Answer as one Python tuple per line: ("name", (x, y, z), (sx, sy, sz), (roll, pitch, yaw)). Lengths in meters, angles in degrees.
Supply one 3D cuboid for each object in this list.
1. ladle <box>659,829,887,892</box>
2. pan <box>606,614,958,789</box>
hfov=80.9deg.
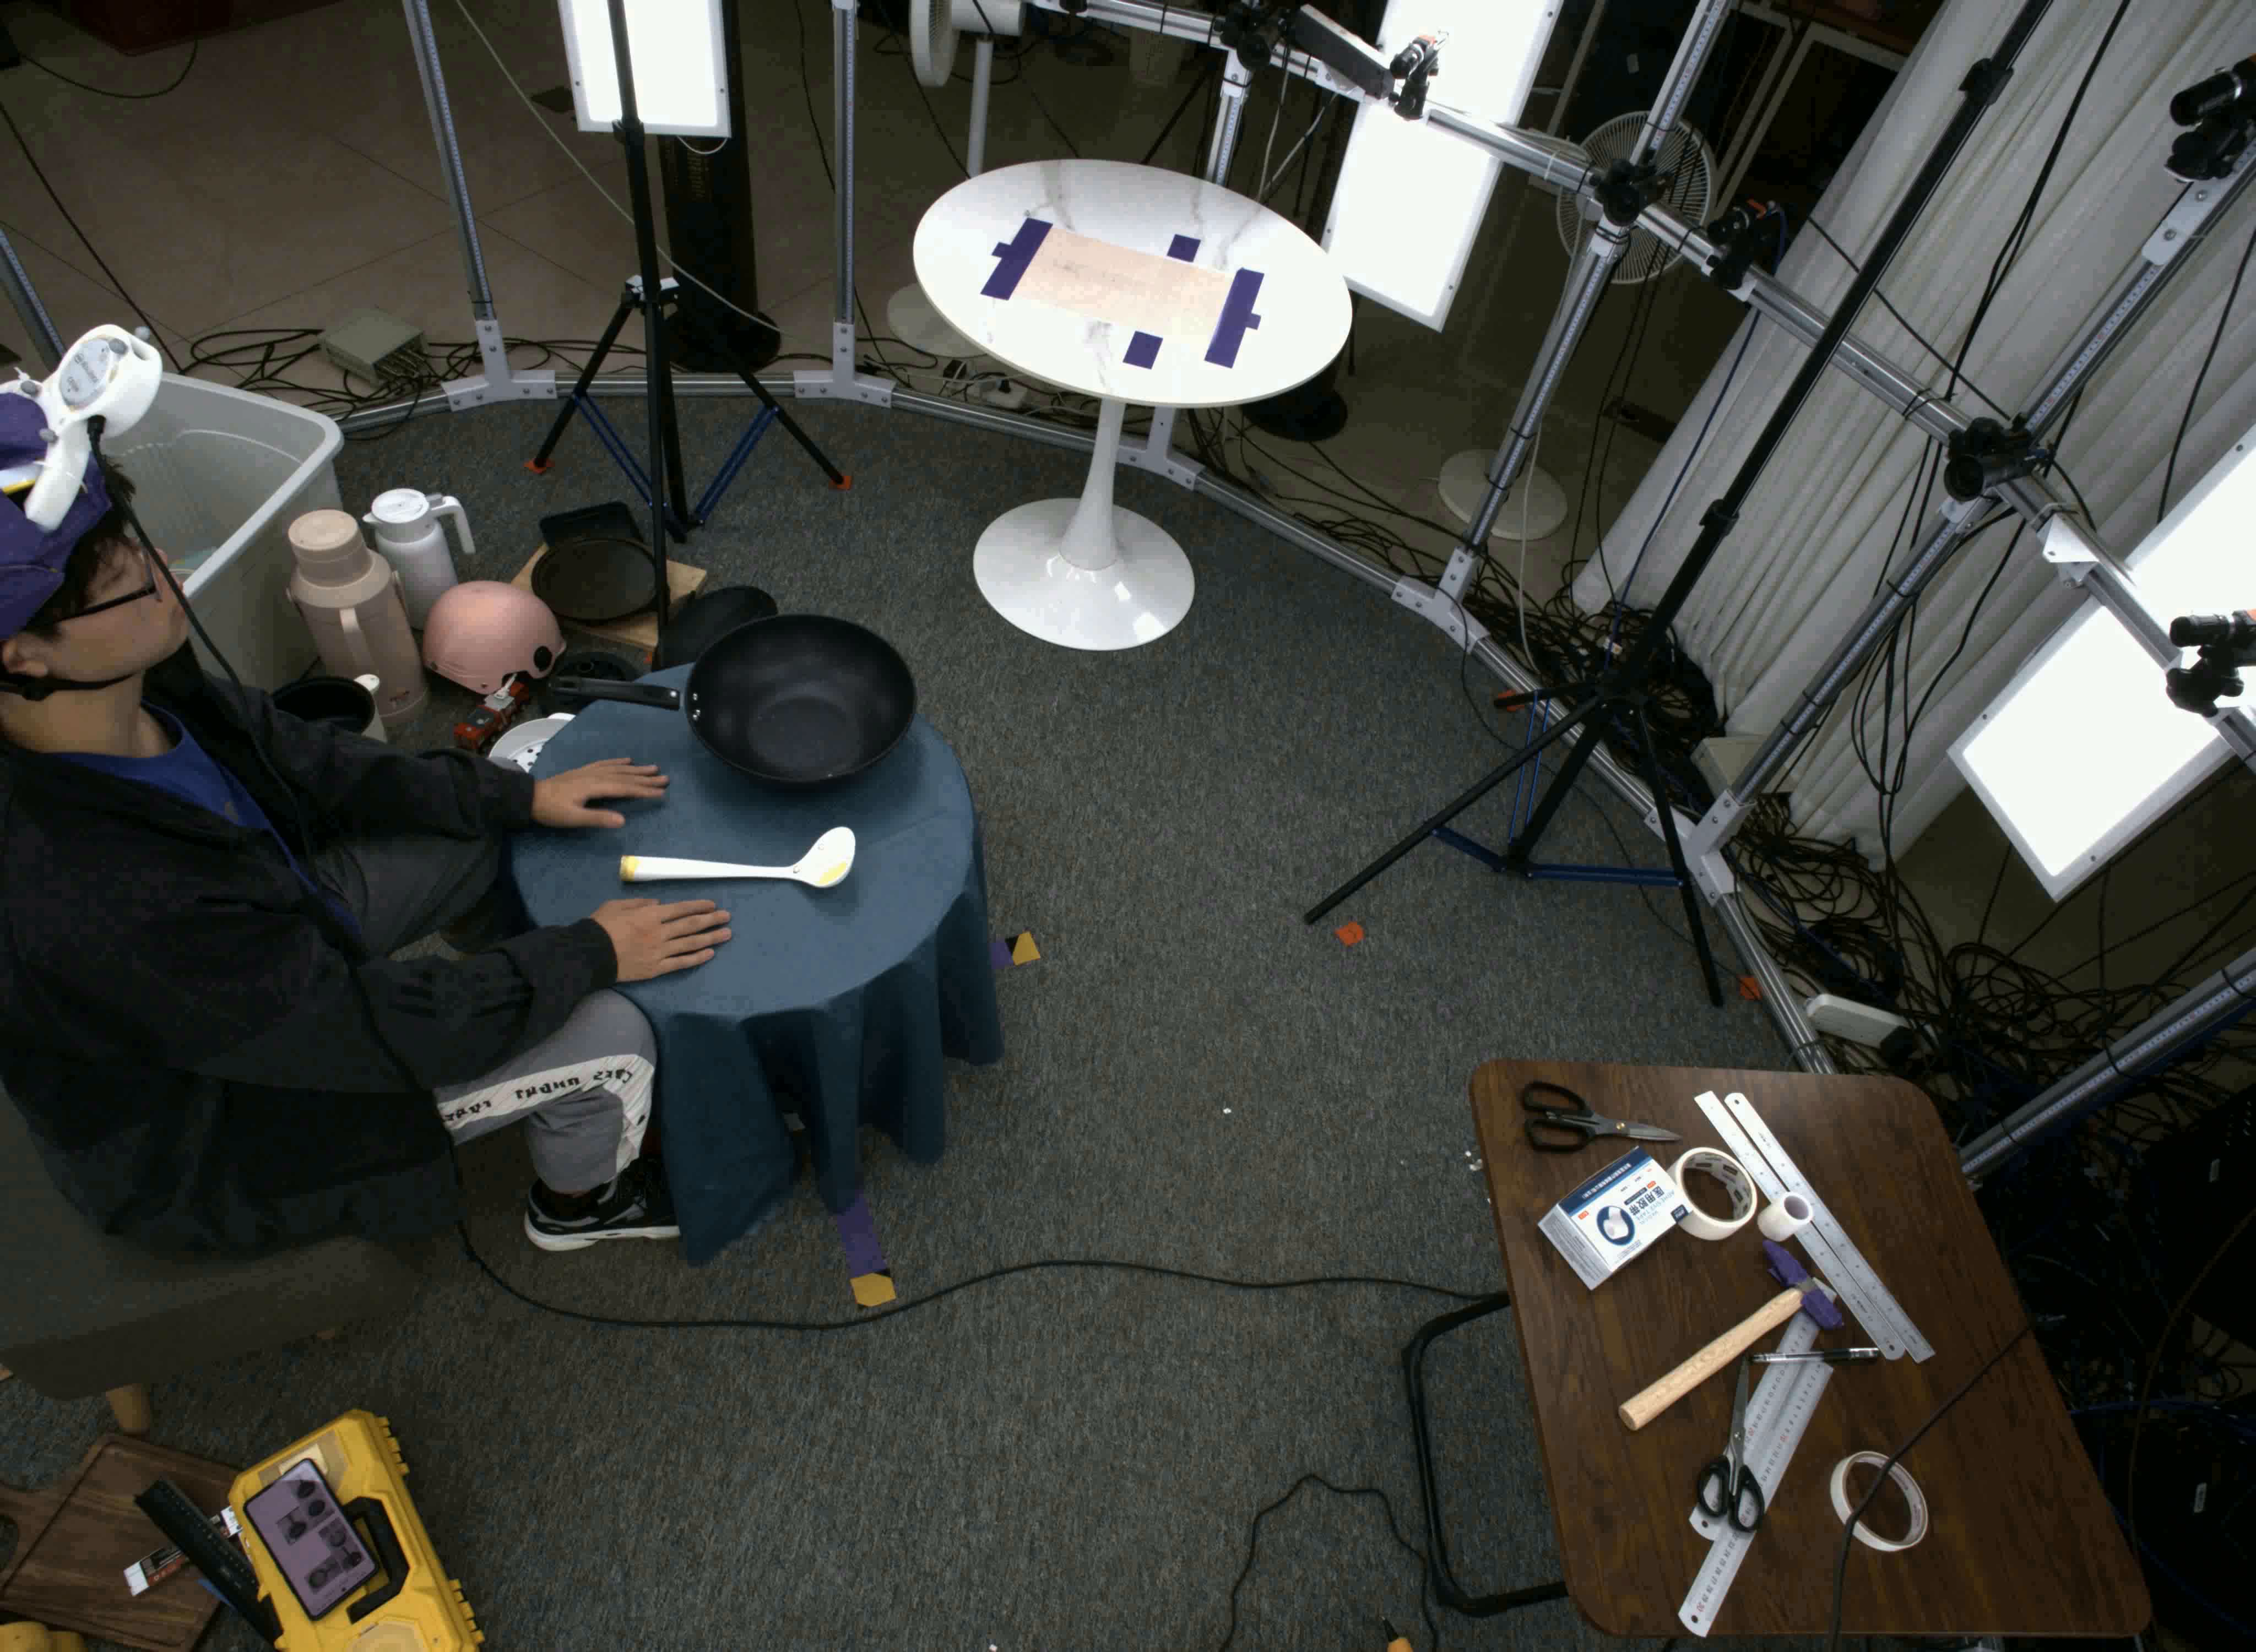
("ladle", (-0.454, 0.042, 1.655), (0.292, 0.071, 0.088), (3, 56, -10))
("pan", (-0.473, -0.165, 1.777), (0.478, 0.114, 0.303), (0, 52, -15))
